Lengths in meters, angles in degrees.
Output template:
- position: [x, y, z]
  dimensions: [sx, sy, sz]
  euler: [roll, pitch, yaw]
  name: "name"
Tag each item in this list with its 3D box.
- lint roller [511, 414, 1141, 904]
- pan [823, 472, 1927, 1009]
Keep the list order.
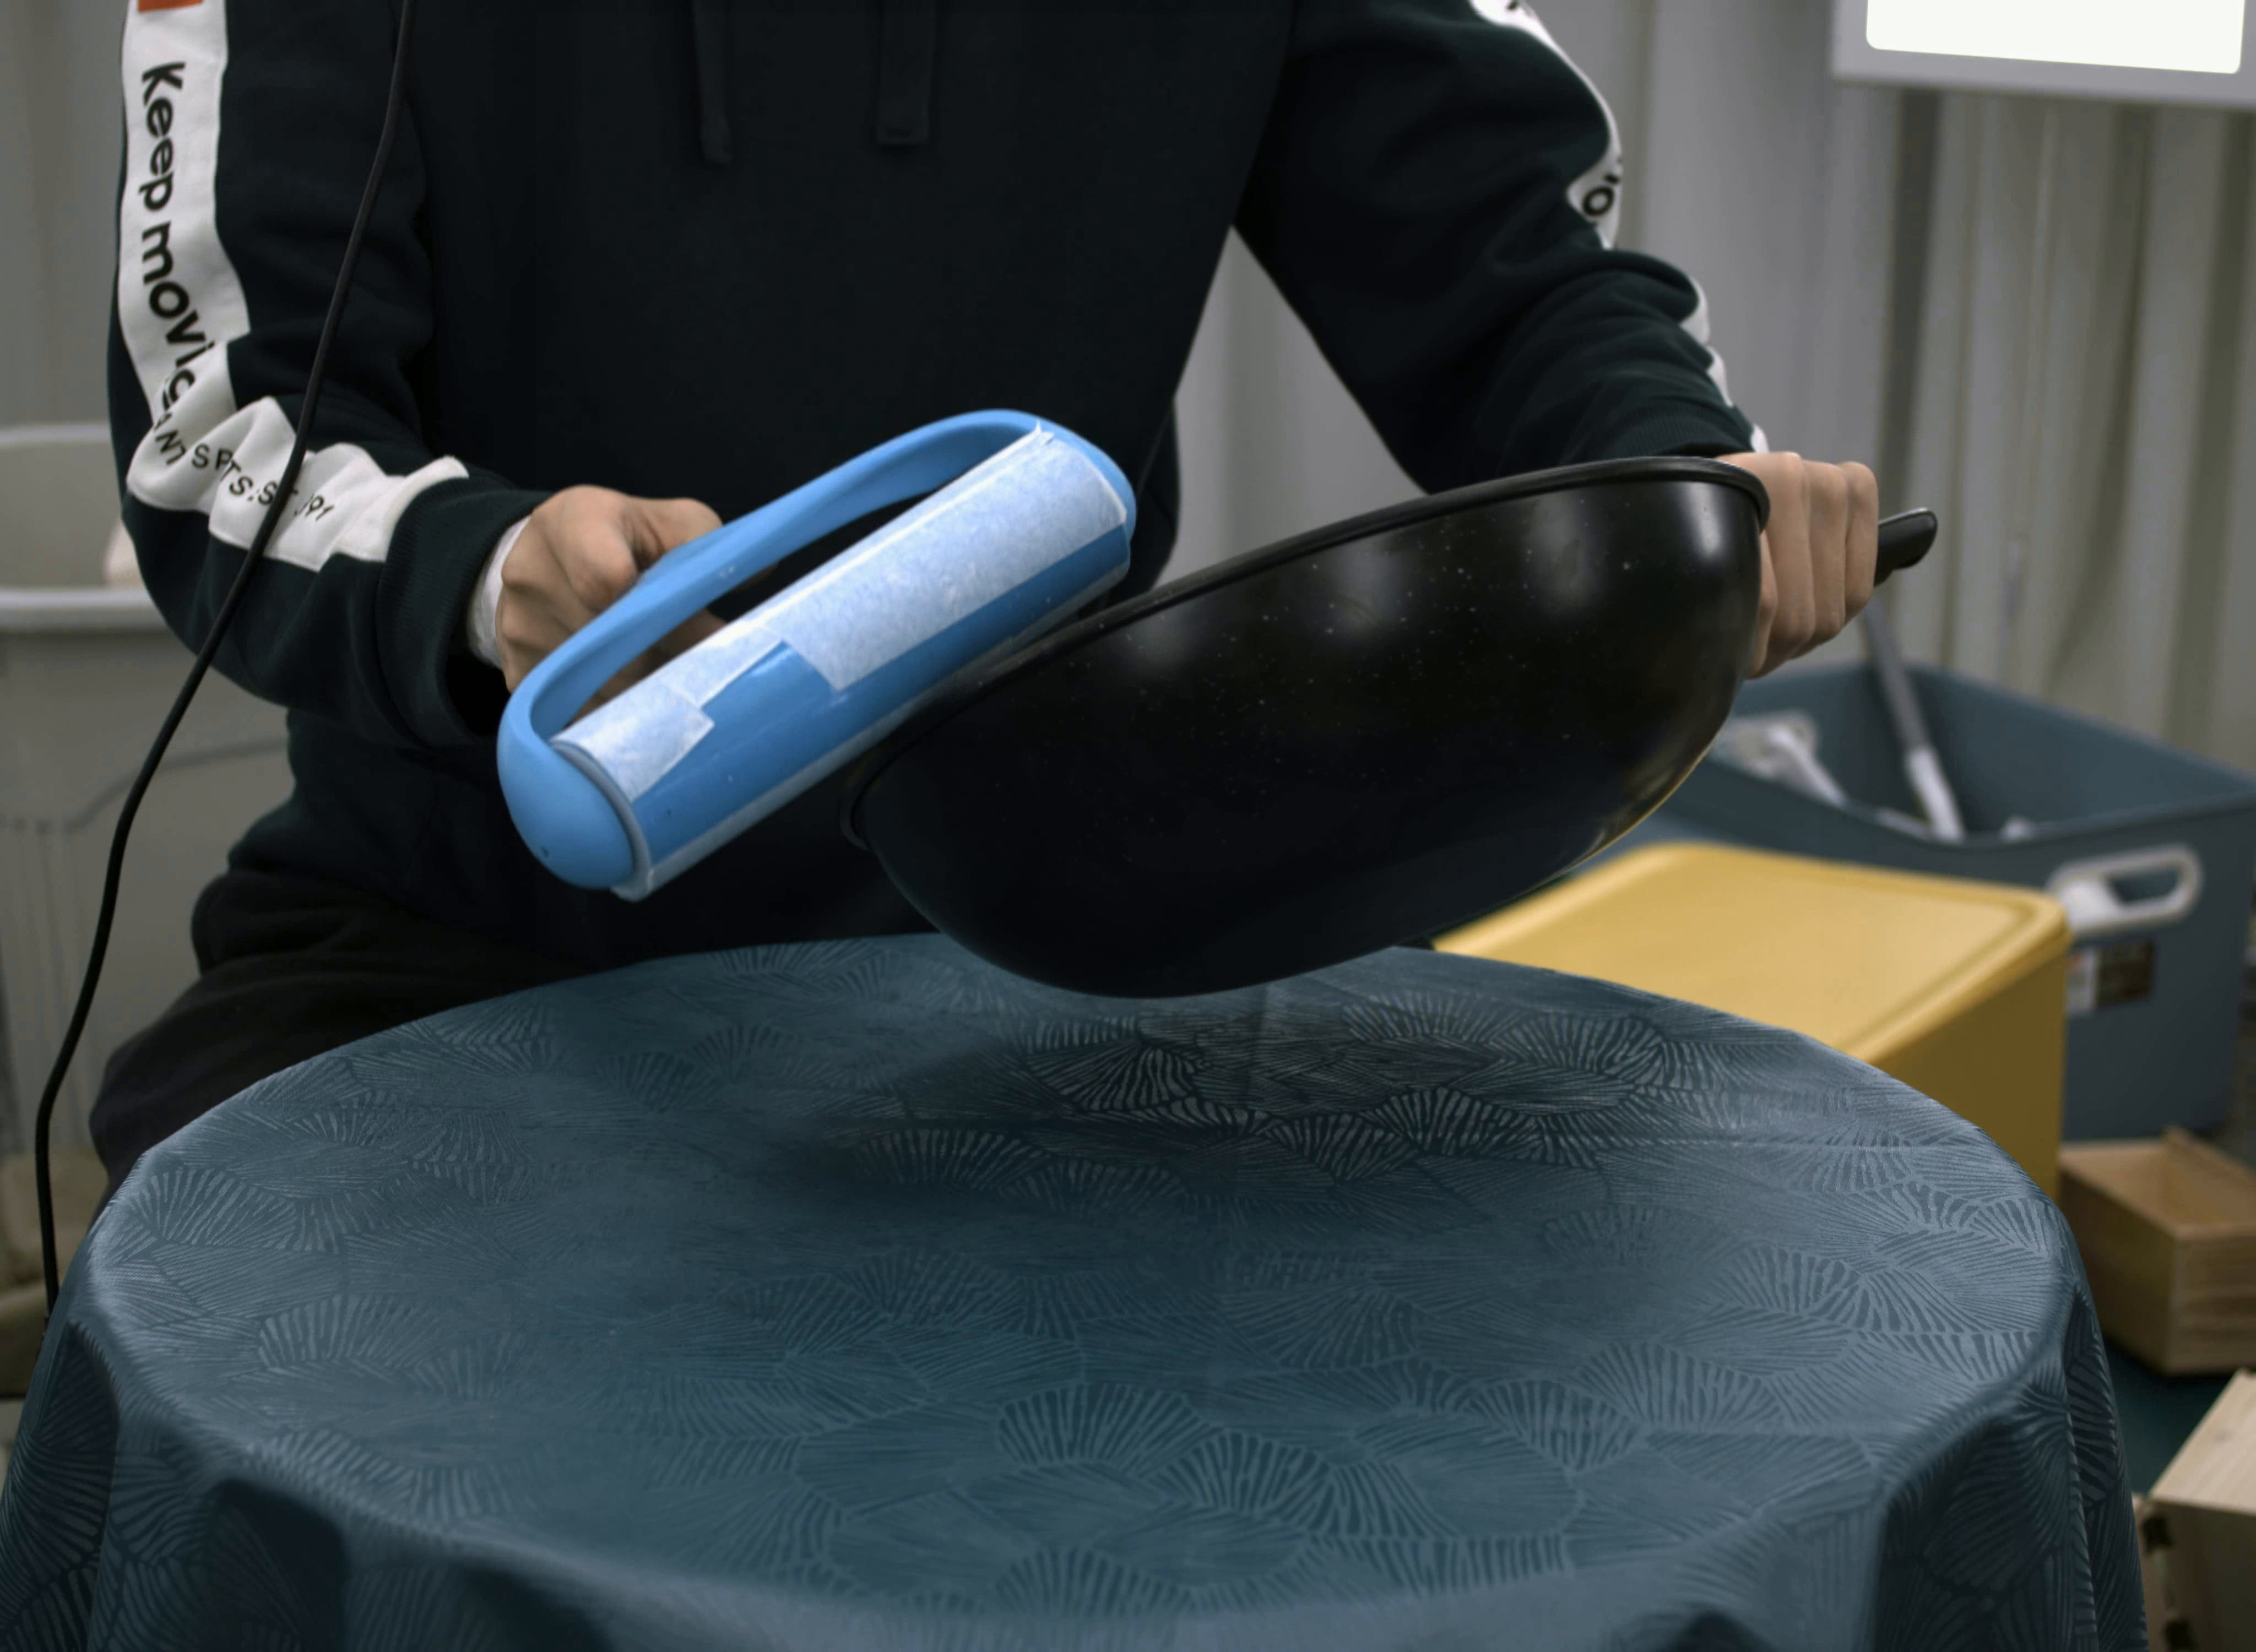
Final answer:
- position: [-0.121, -0.054, 1.608]
  dimensions: [0.229, 0.069, 0.178]
  euler: [-38, 27, -31]
  name: "lint roller"
- position: [0.121, -0.030, 1.696]
  dimensions: [0.480, 0.111, 0.309]
  euler: [-8, -15, -44]
  name: "pan"
